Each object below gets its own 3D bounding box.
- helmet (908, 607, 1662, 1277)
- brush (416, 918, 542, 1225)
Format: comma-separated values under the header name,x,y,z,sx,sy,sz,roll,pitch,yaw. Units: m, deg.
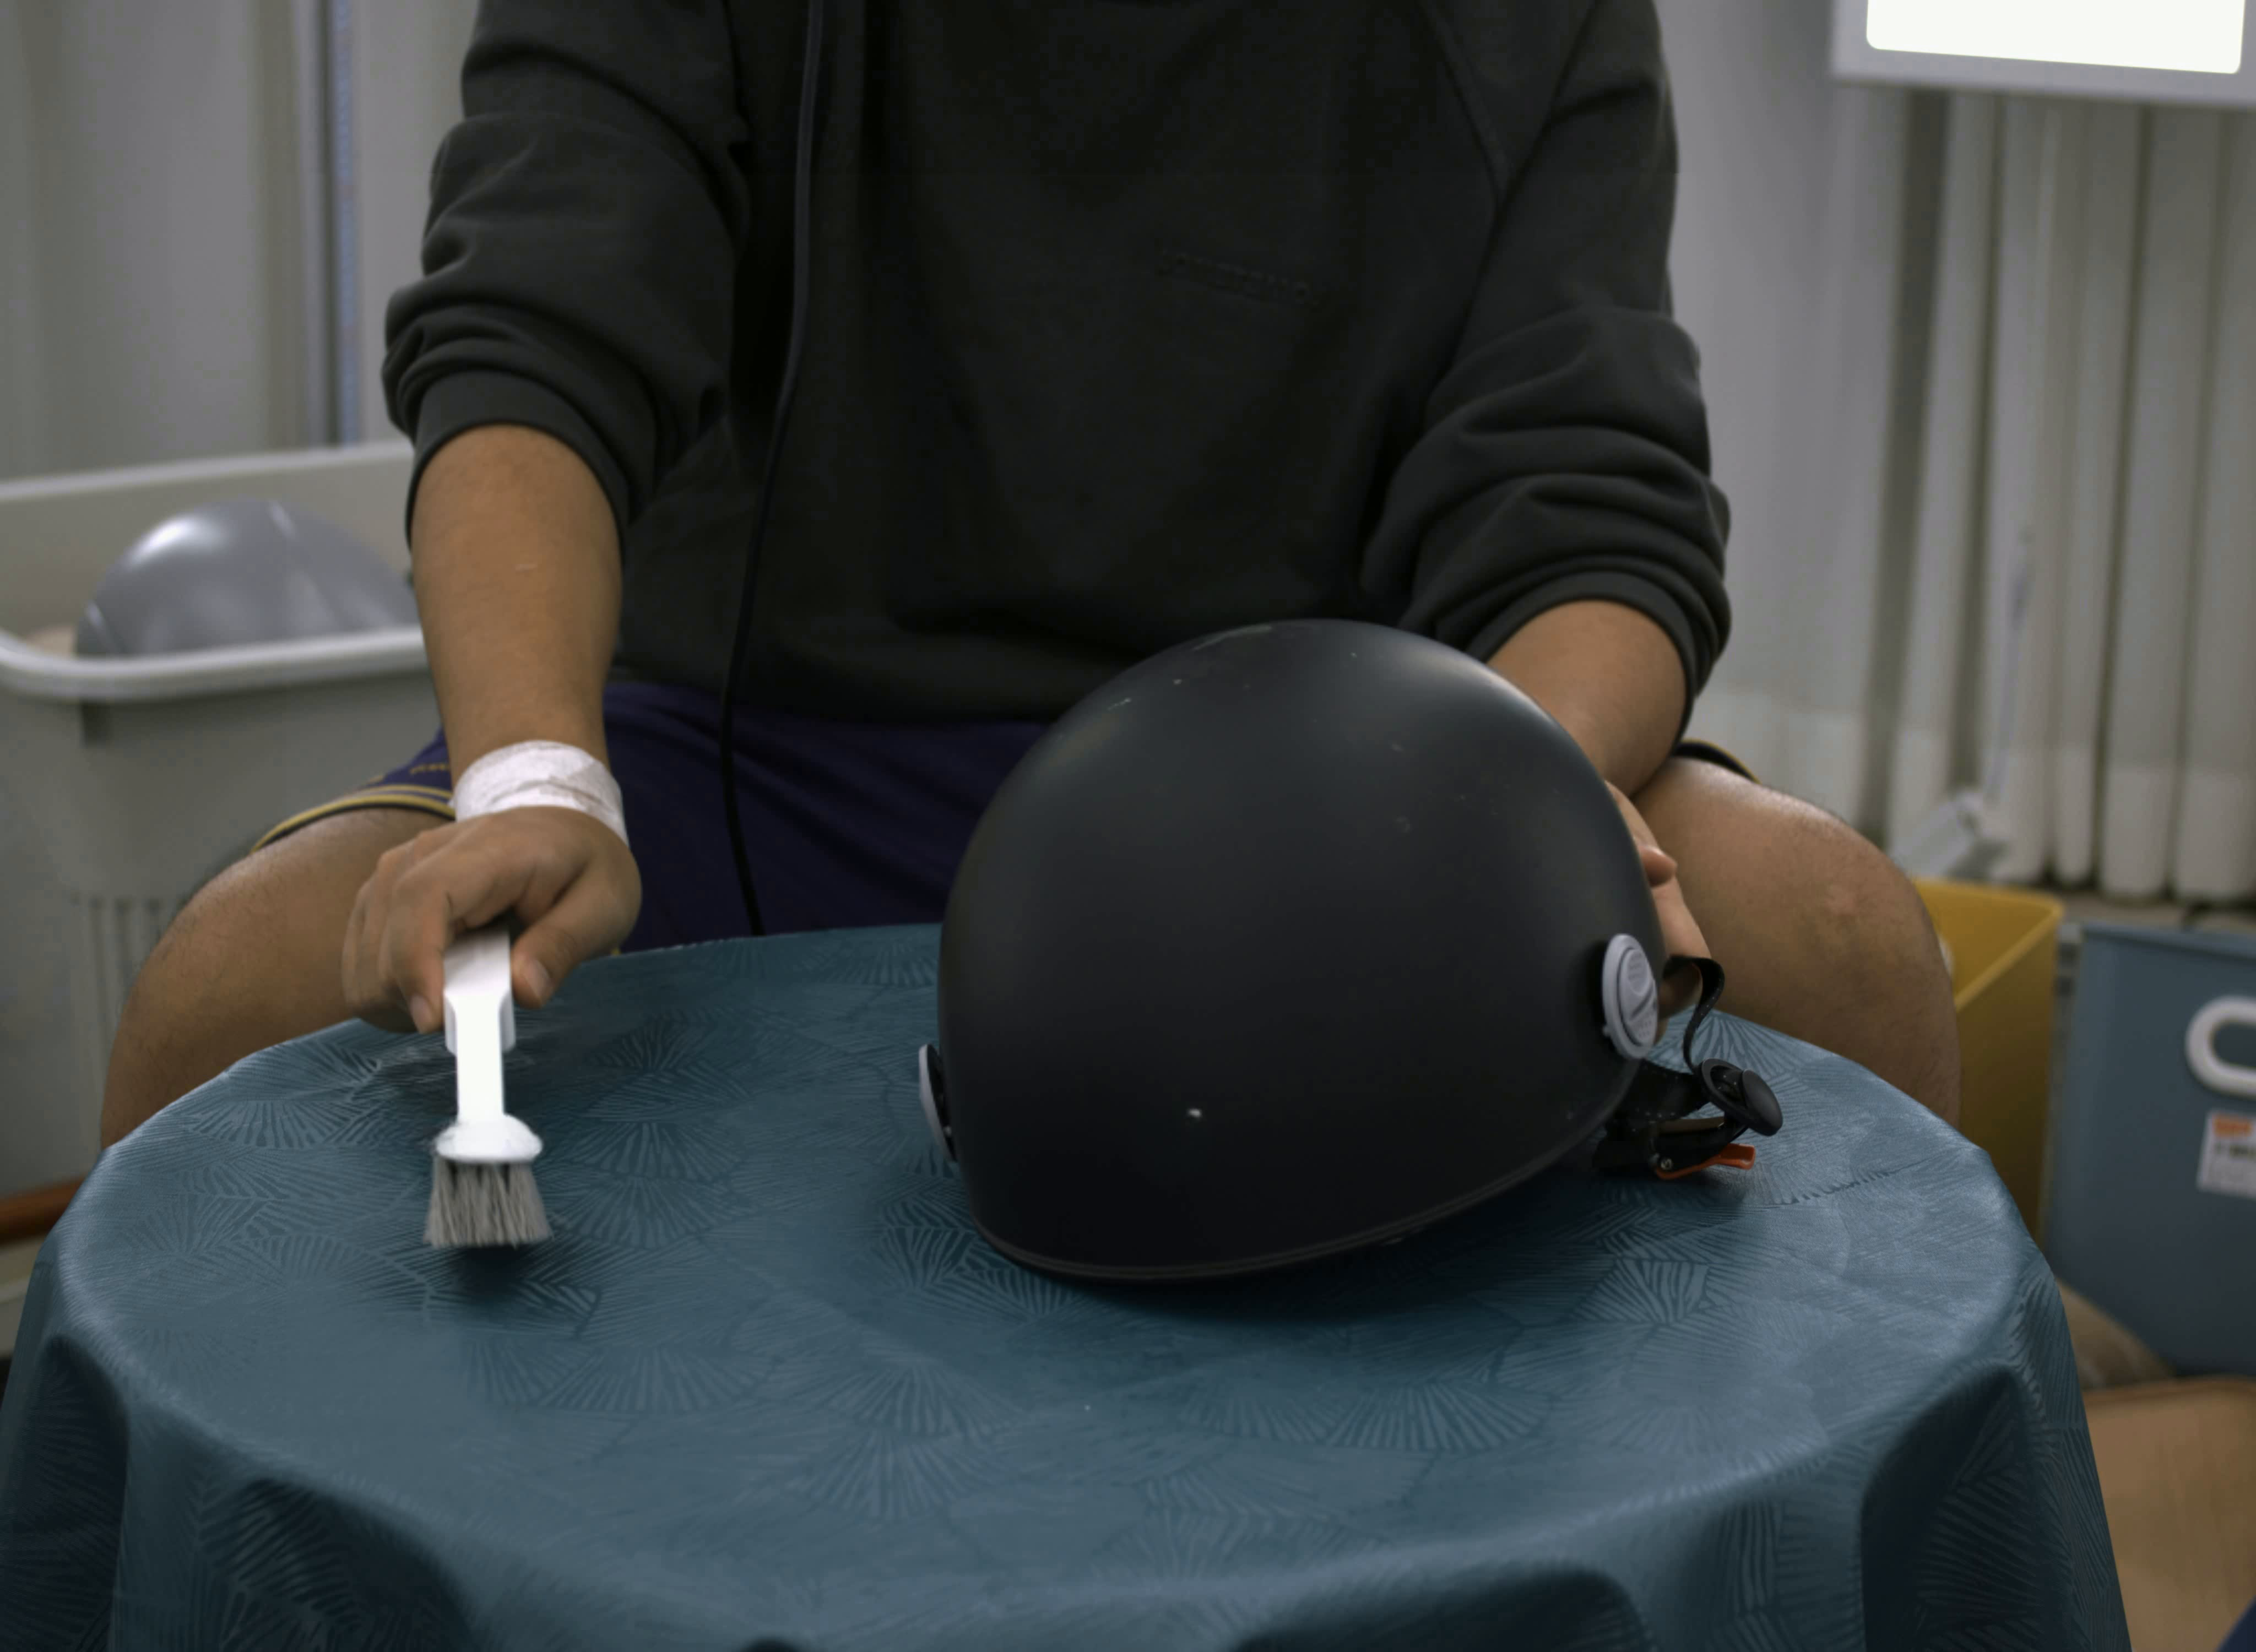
name,x,y,z,sx,sy,sz,roll,pitch,yaw
helmet,0.043,0.023,1.614,0.228,0.168,0.273,-10,14,18
brush,-0.202,0.078,1.624,0.034,0.050,0.242,-5,14,-7
